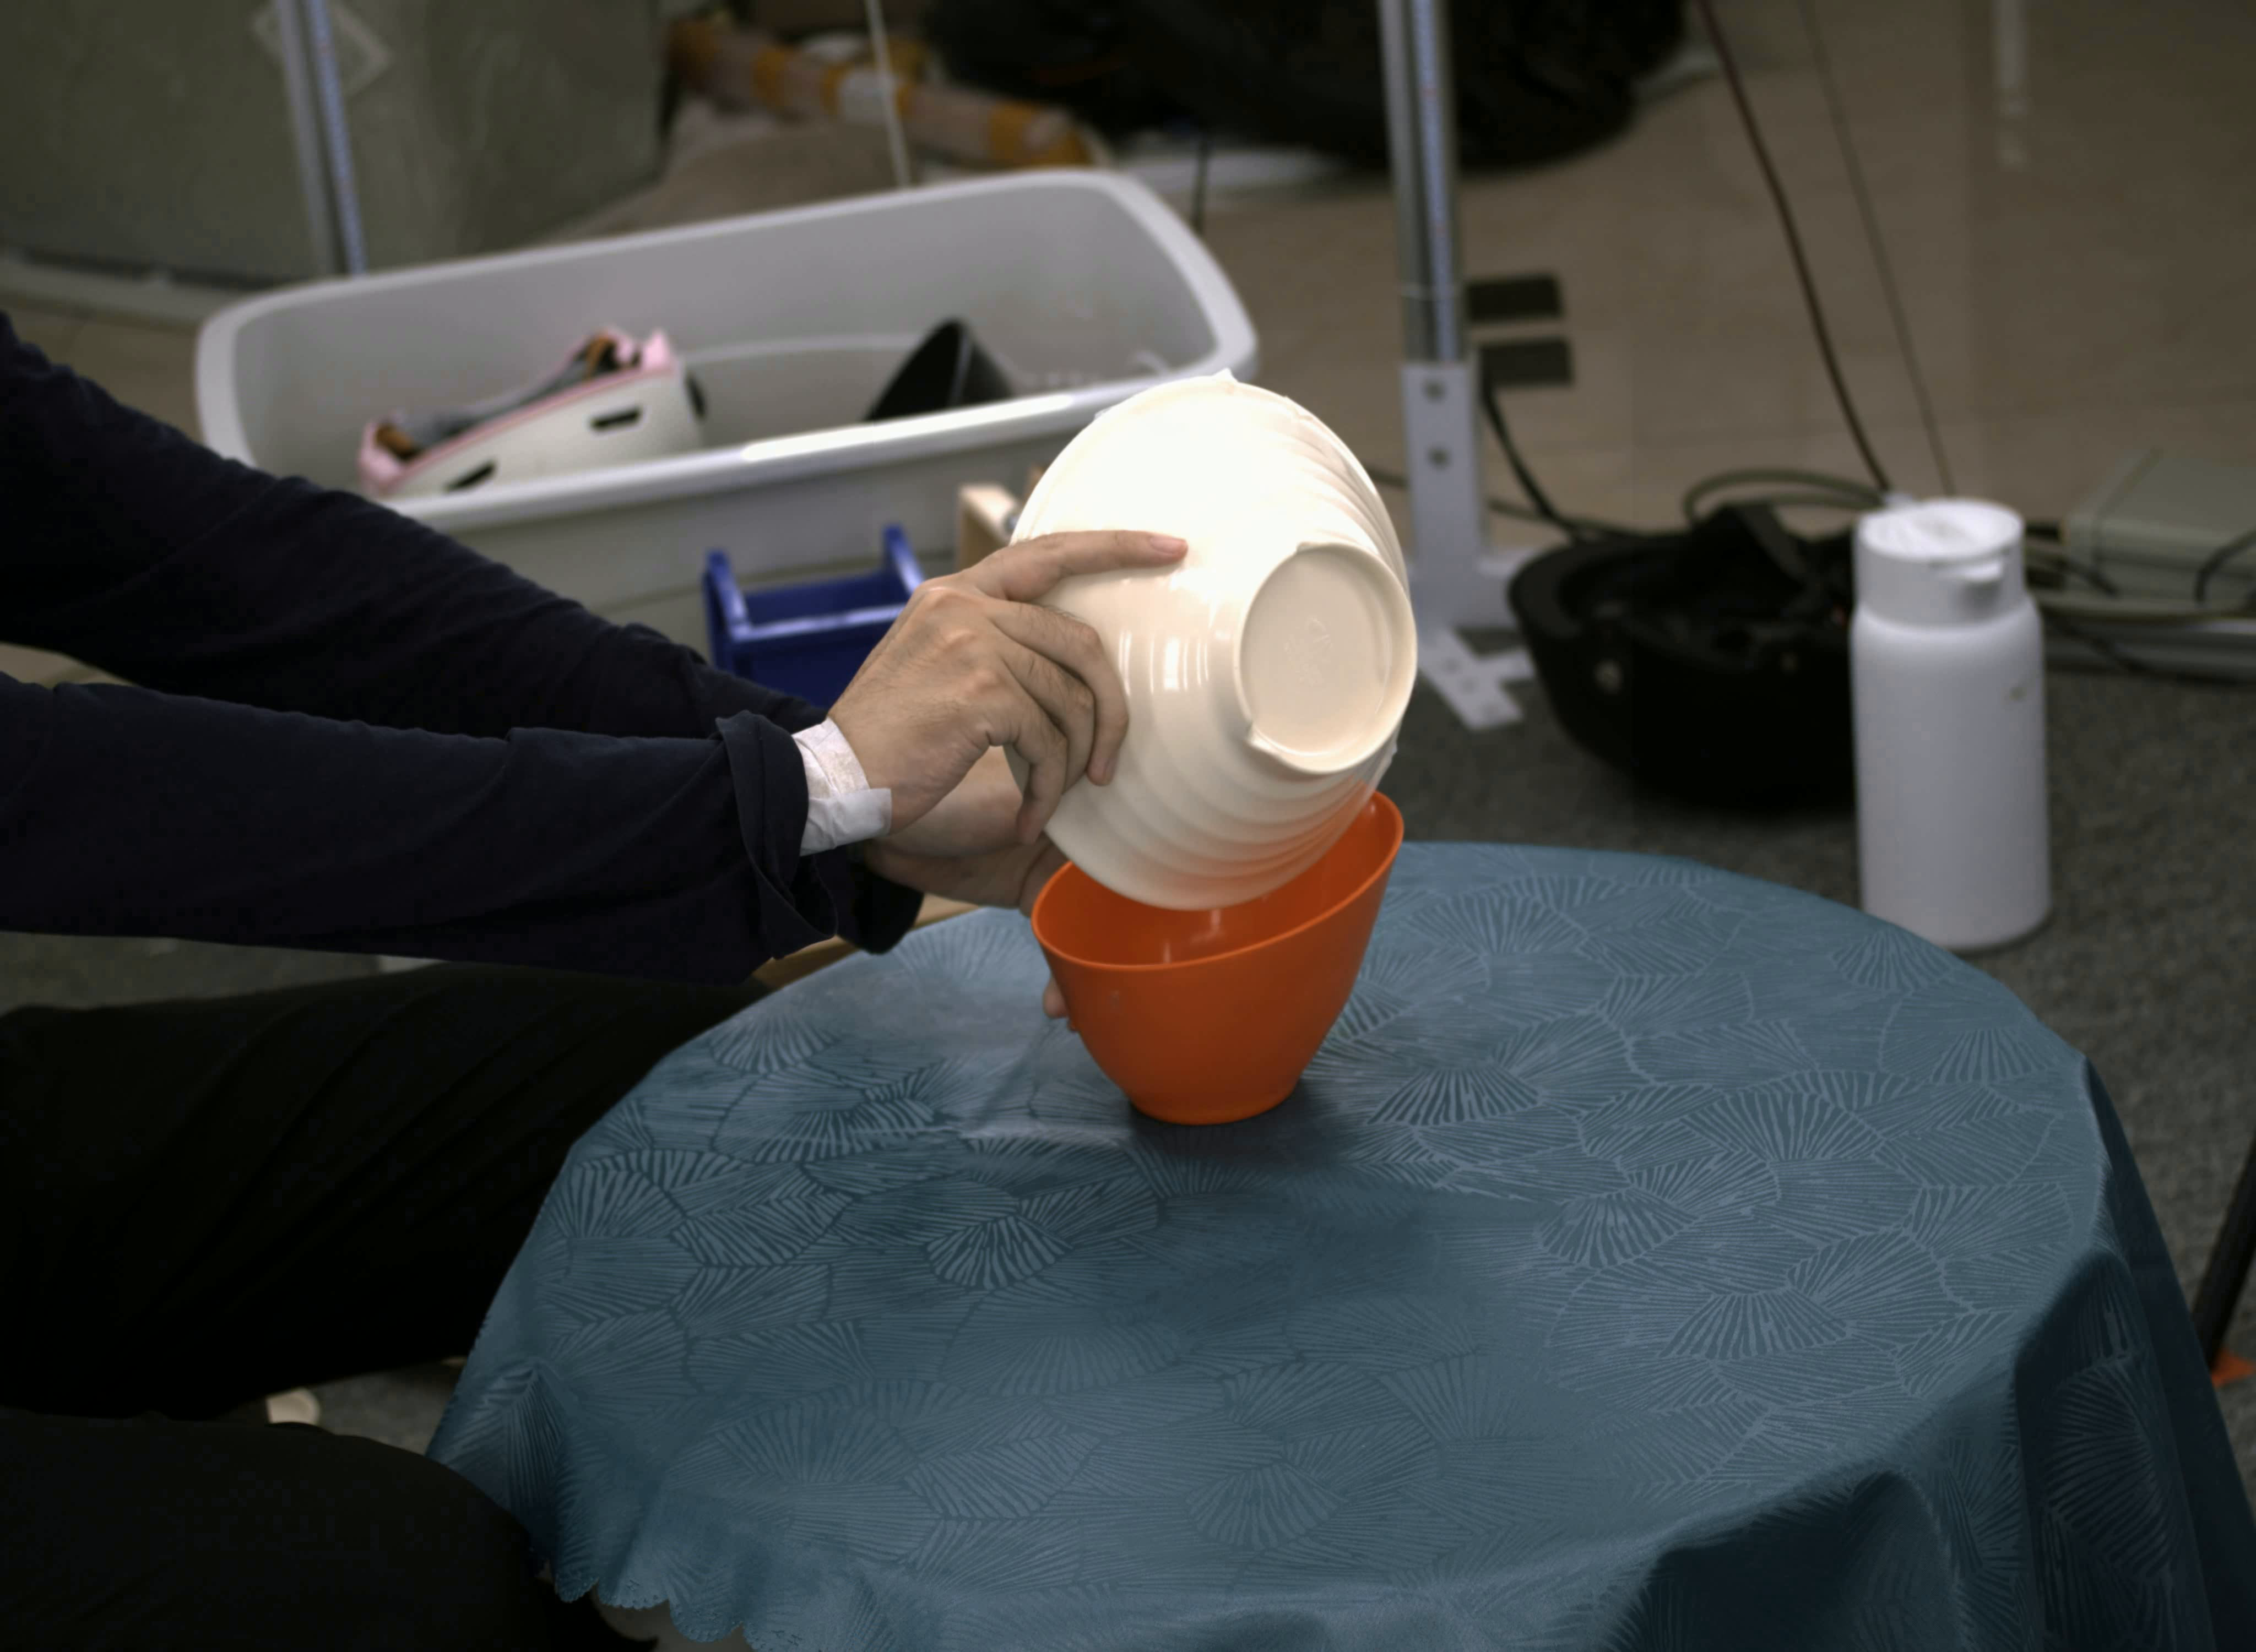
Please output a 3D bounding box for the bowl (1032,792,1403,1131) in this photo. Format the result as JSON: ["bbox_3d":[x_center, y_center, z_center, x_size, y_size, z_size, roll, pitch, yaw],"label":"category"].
[{"bbox_3d":[0.040,0.056,2.201,0.148,0.106,0.146,-7,25,3],"label":"bowl"}]

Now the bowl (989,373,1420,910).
[{"bbox_3d":[0.052,-0.068,2.119,0.202,0.206,0.077,-24,19,-33],"label":"bowl"}]
